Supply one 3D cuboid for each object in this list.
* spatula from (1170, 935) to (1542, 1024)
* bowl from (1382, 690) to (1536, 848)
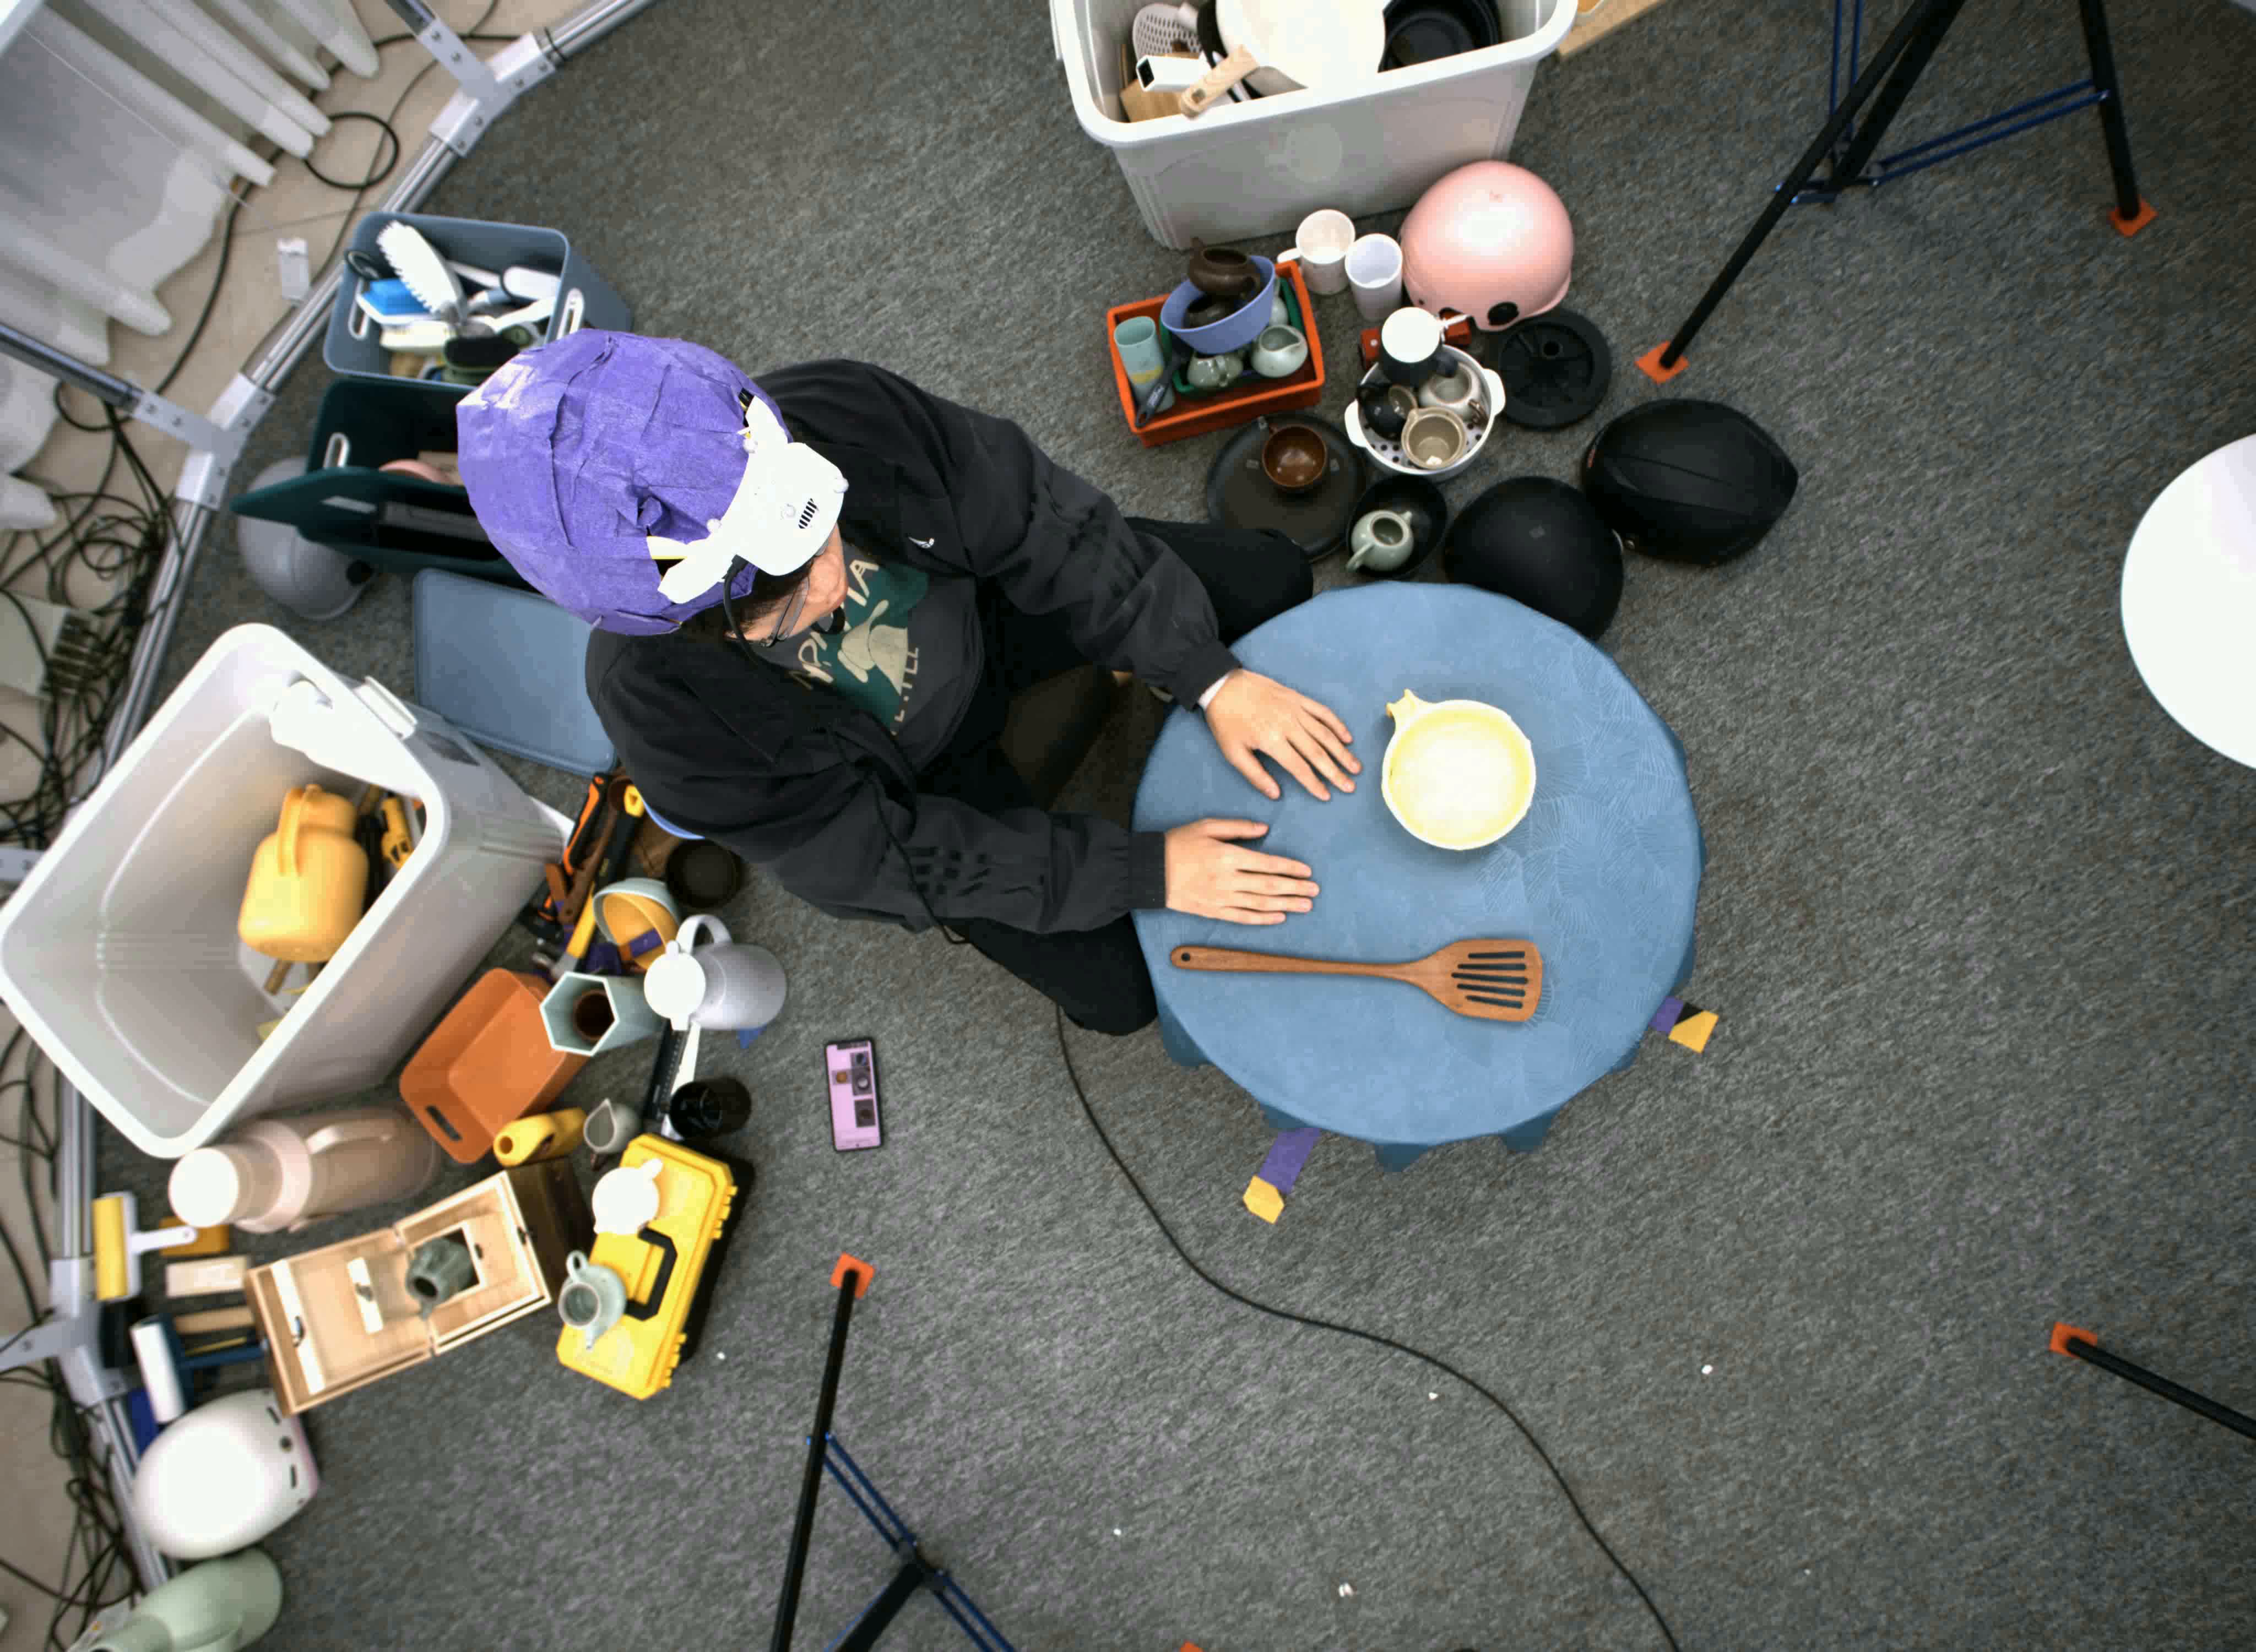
[{"bbox_3d":[0.234,0.144,1.452,0.388,0.024,0.085,5,87,12],"label":"spatula"},{"bbox_3d":[0.332,-0.063,1.422,0.153,0.074,0.178,-42,81,4],"label":"bowl"}]
